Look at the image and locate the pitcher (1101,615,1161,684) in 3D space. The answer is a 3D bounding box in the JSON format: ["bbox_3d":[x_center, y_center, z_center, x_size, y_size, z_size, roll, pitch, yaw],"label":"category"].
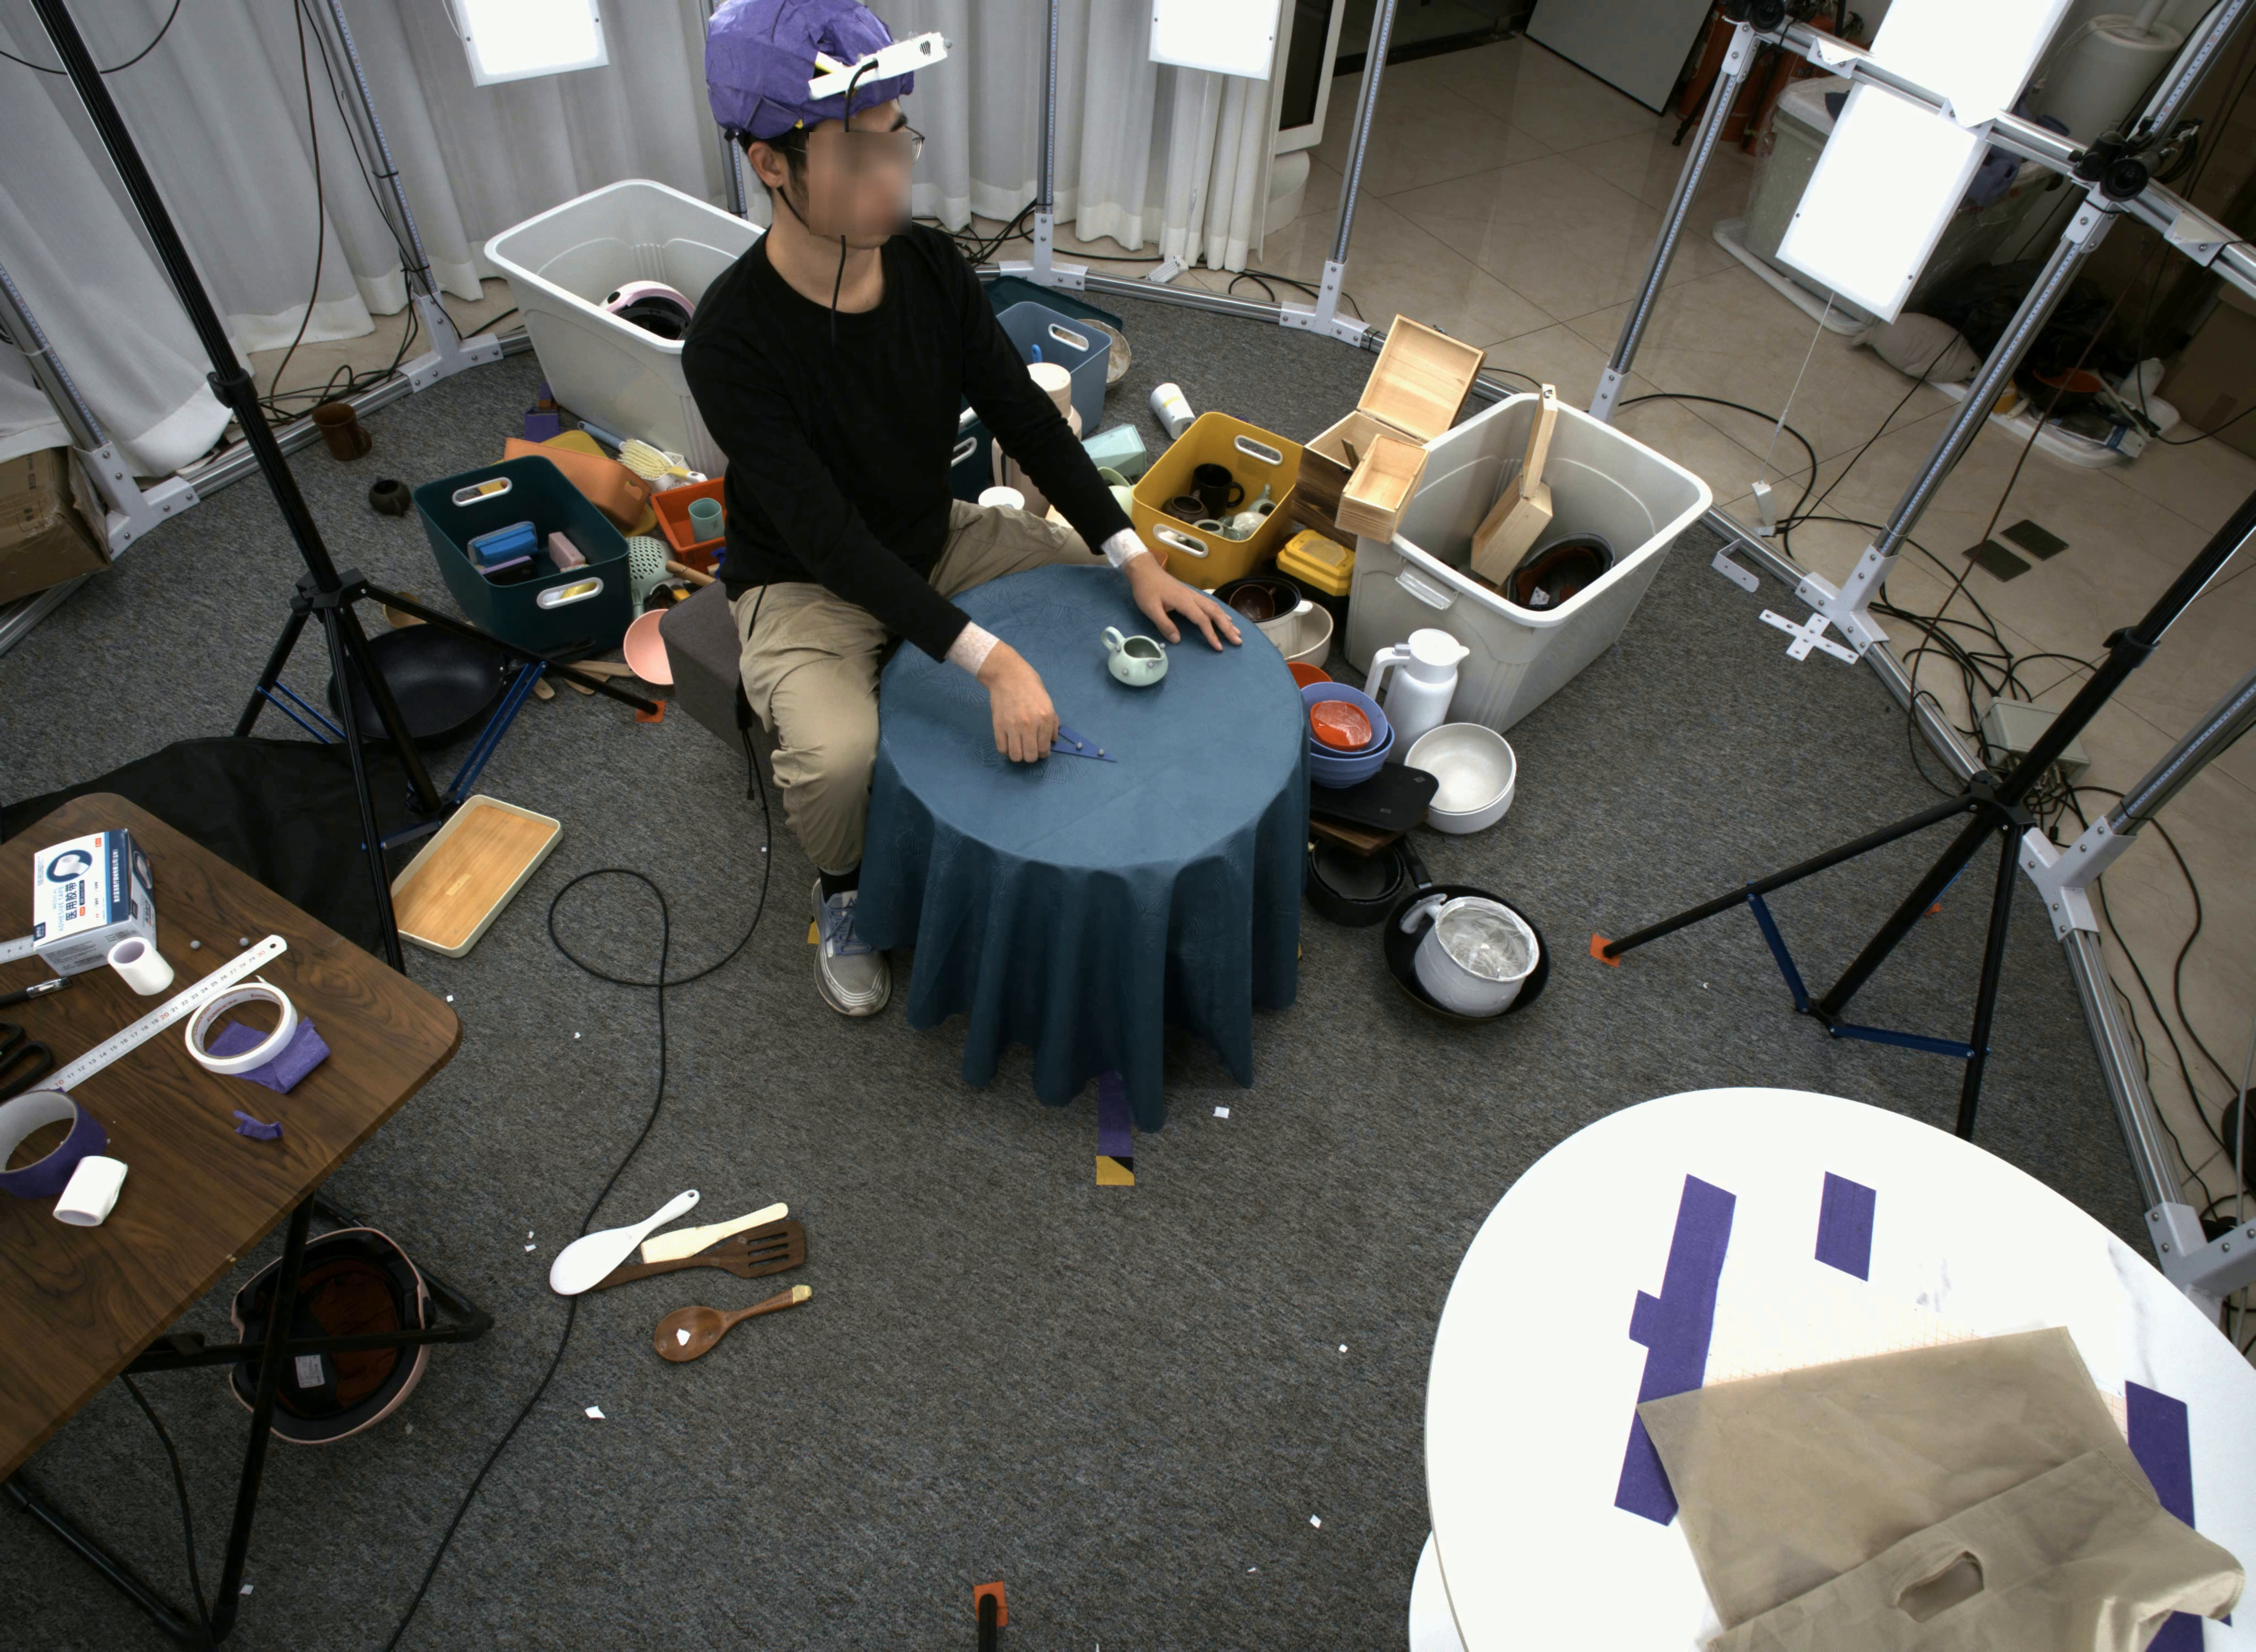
[{"bbox_3d":[-0.001,-0.256,1.847,0.086,0.059,0.109,-33,76,-17],"label":"pitcher"}]

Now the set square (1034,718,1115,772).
[{"bbox_3d":[-0.081,-0.101,1.749,0.134,0.006,0.062,37,54,25],"label":"set square"}]
